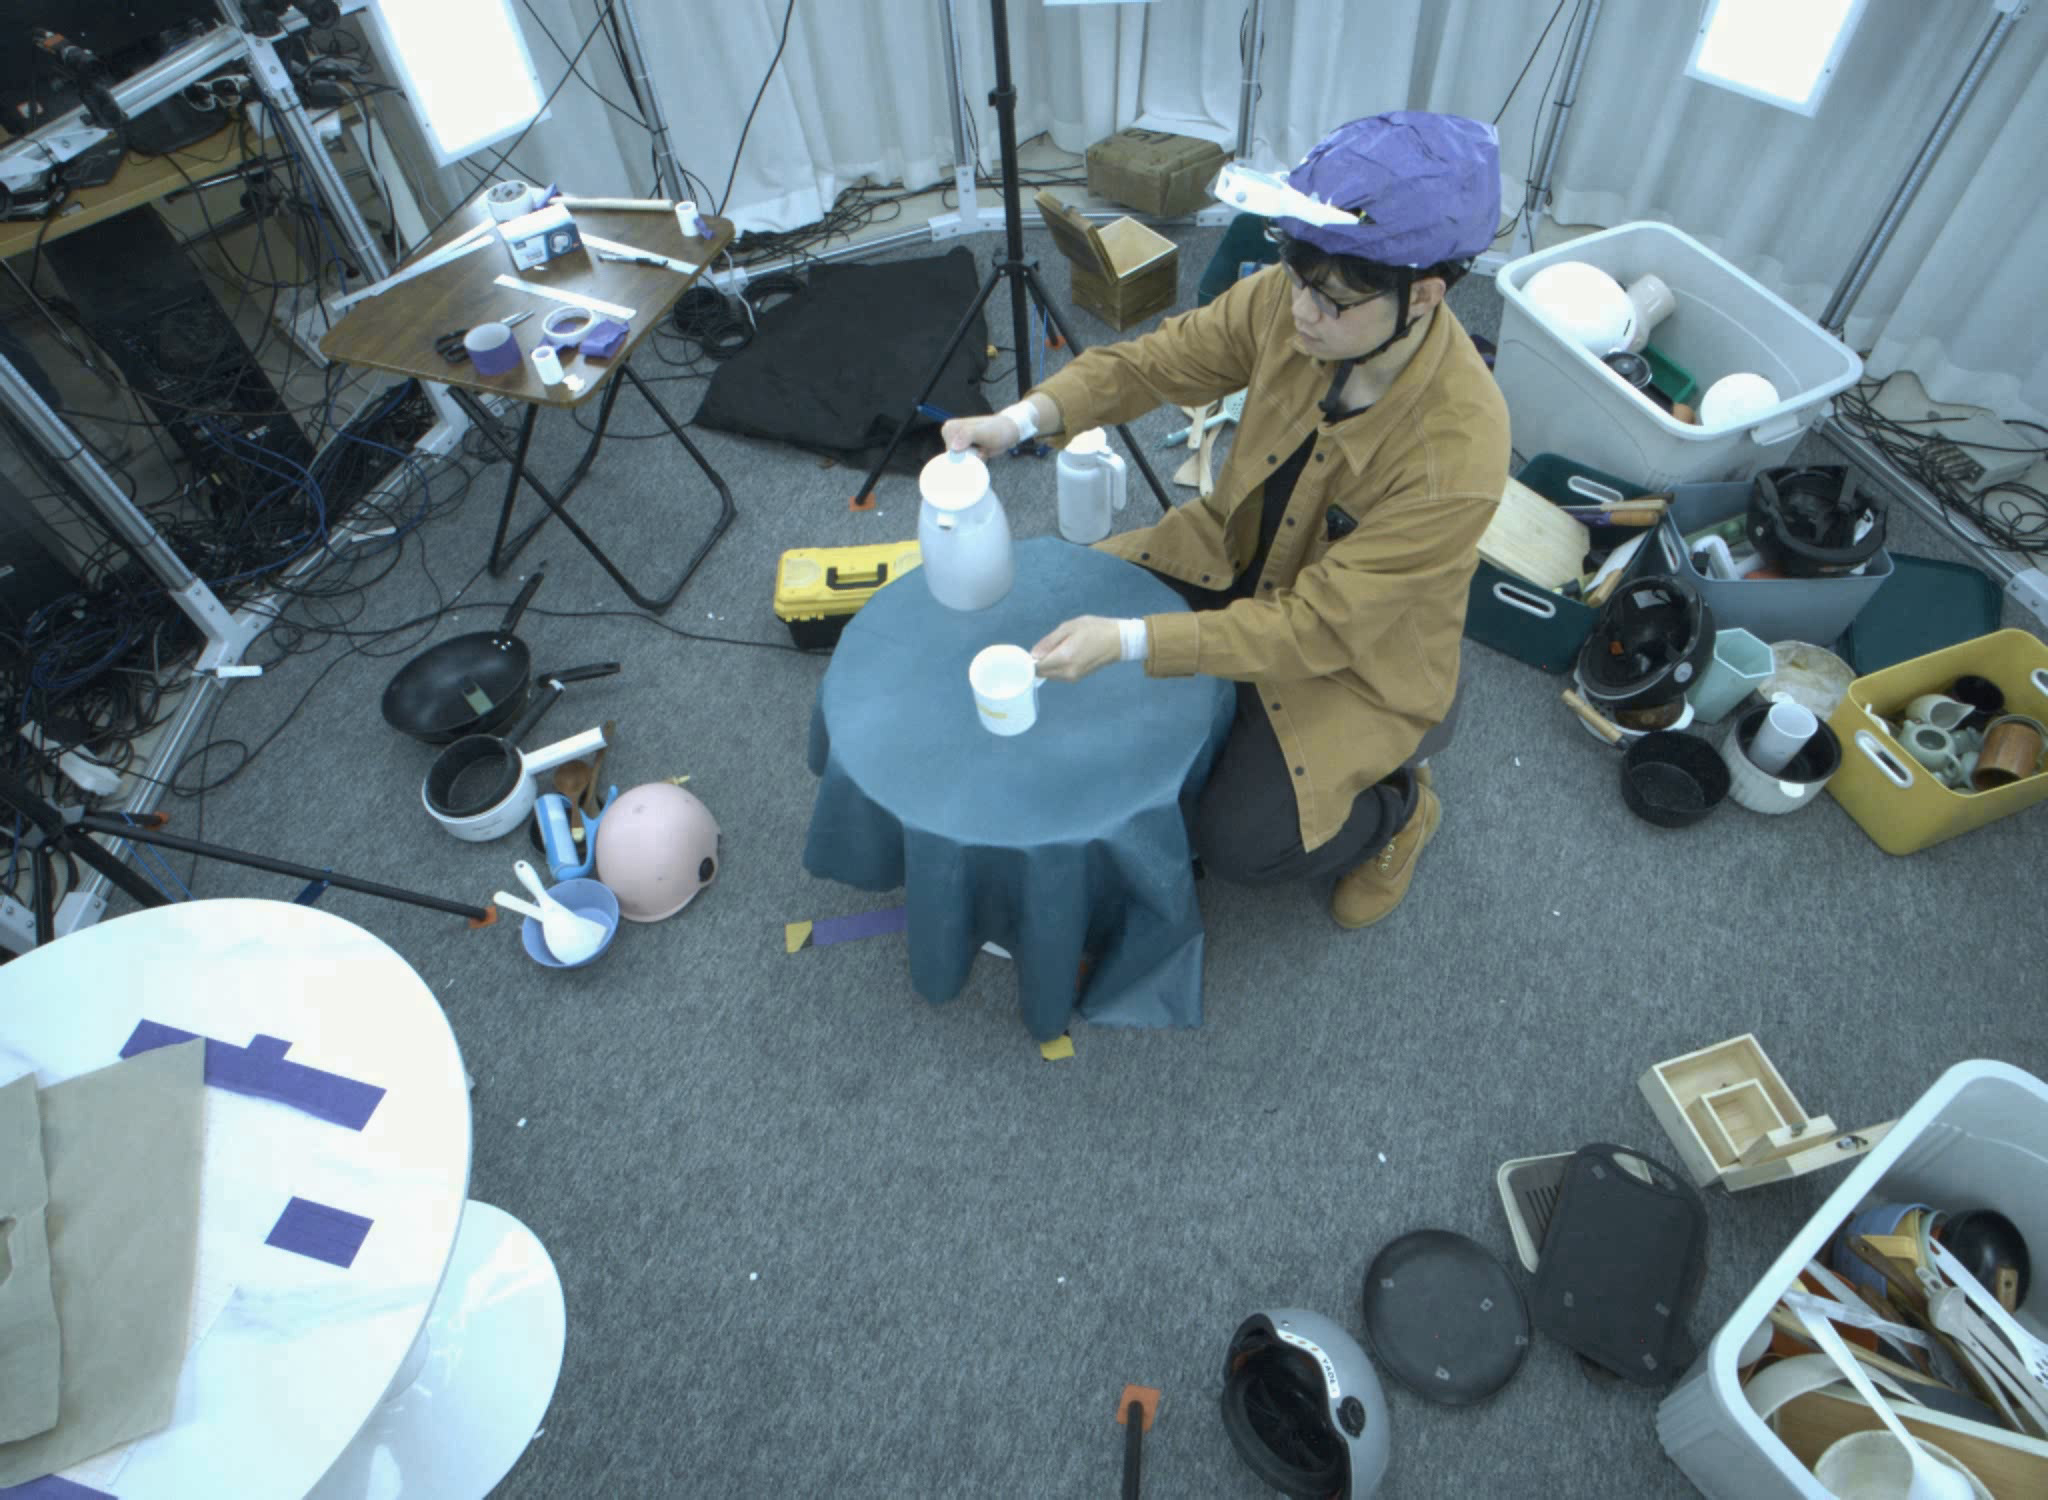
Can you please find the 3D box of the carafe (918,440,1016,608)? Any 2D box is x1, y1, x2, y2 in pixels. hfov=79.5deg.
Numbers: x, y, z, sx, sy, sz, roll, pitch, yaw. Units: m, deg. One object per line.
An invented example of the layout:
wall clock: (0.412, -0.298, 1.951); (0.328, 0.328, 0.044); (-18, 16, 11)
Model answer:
carafe: (-0.084, -0.328, 1.694); (0.132, 0.251, 0.167); (6, 69, 6)

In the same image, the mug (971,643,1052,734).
mug: (-0.012, -0.089, 1.654); (0.119, 0.103, 0.083); (-37, 65, -17)
